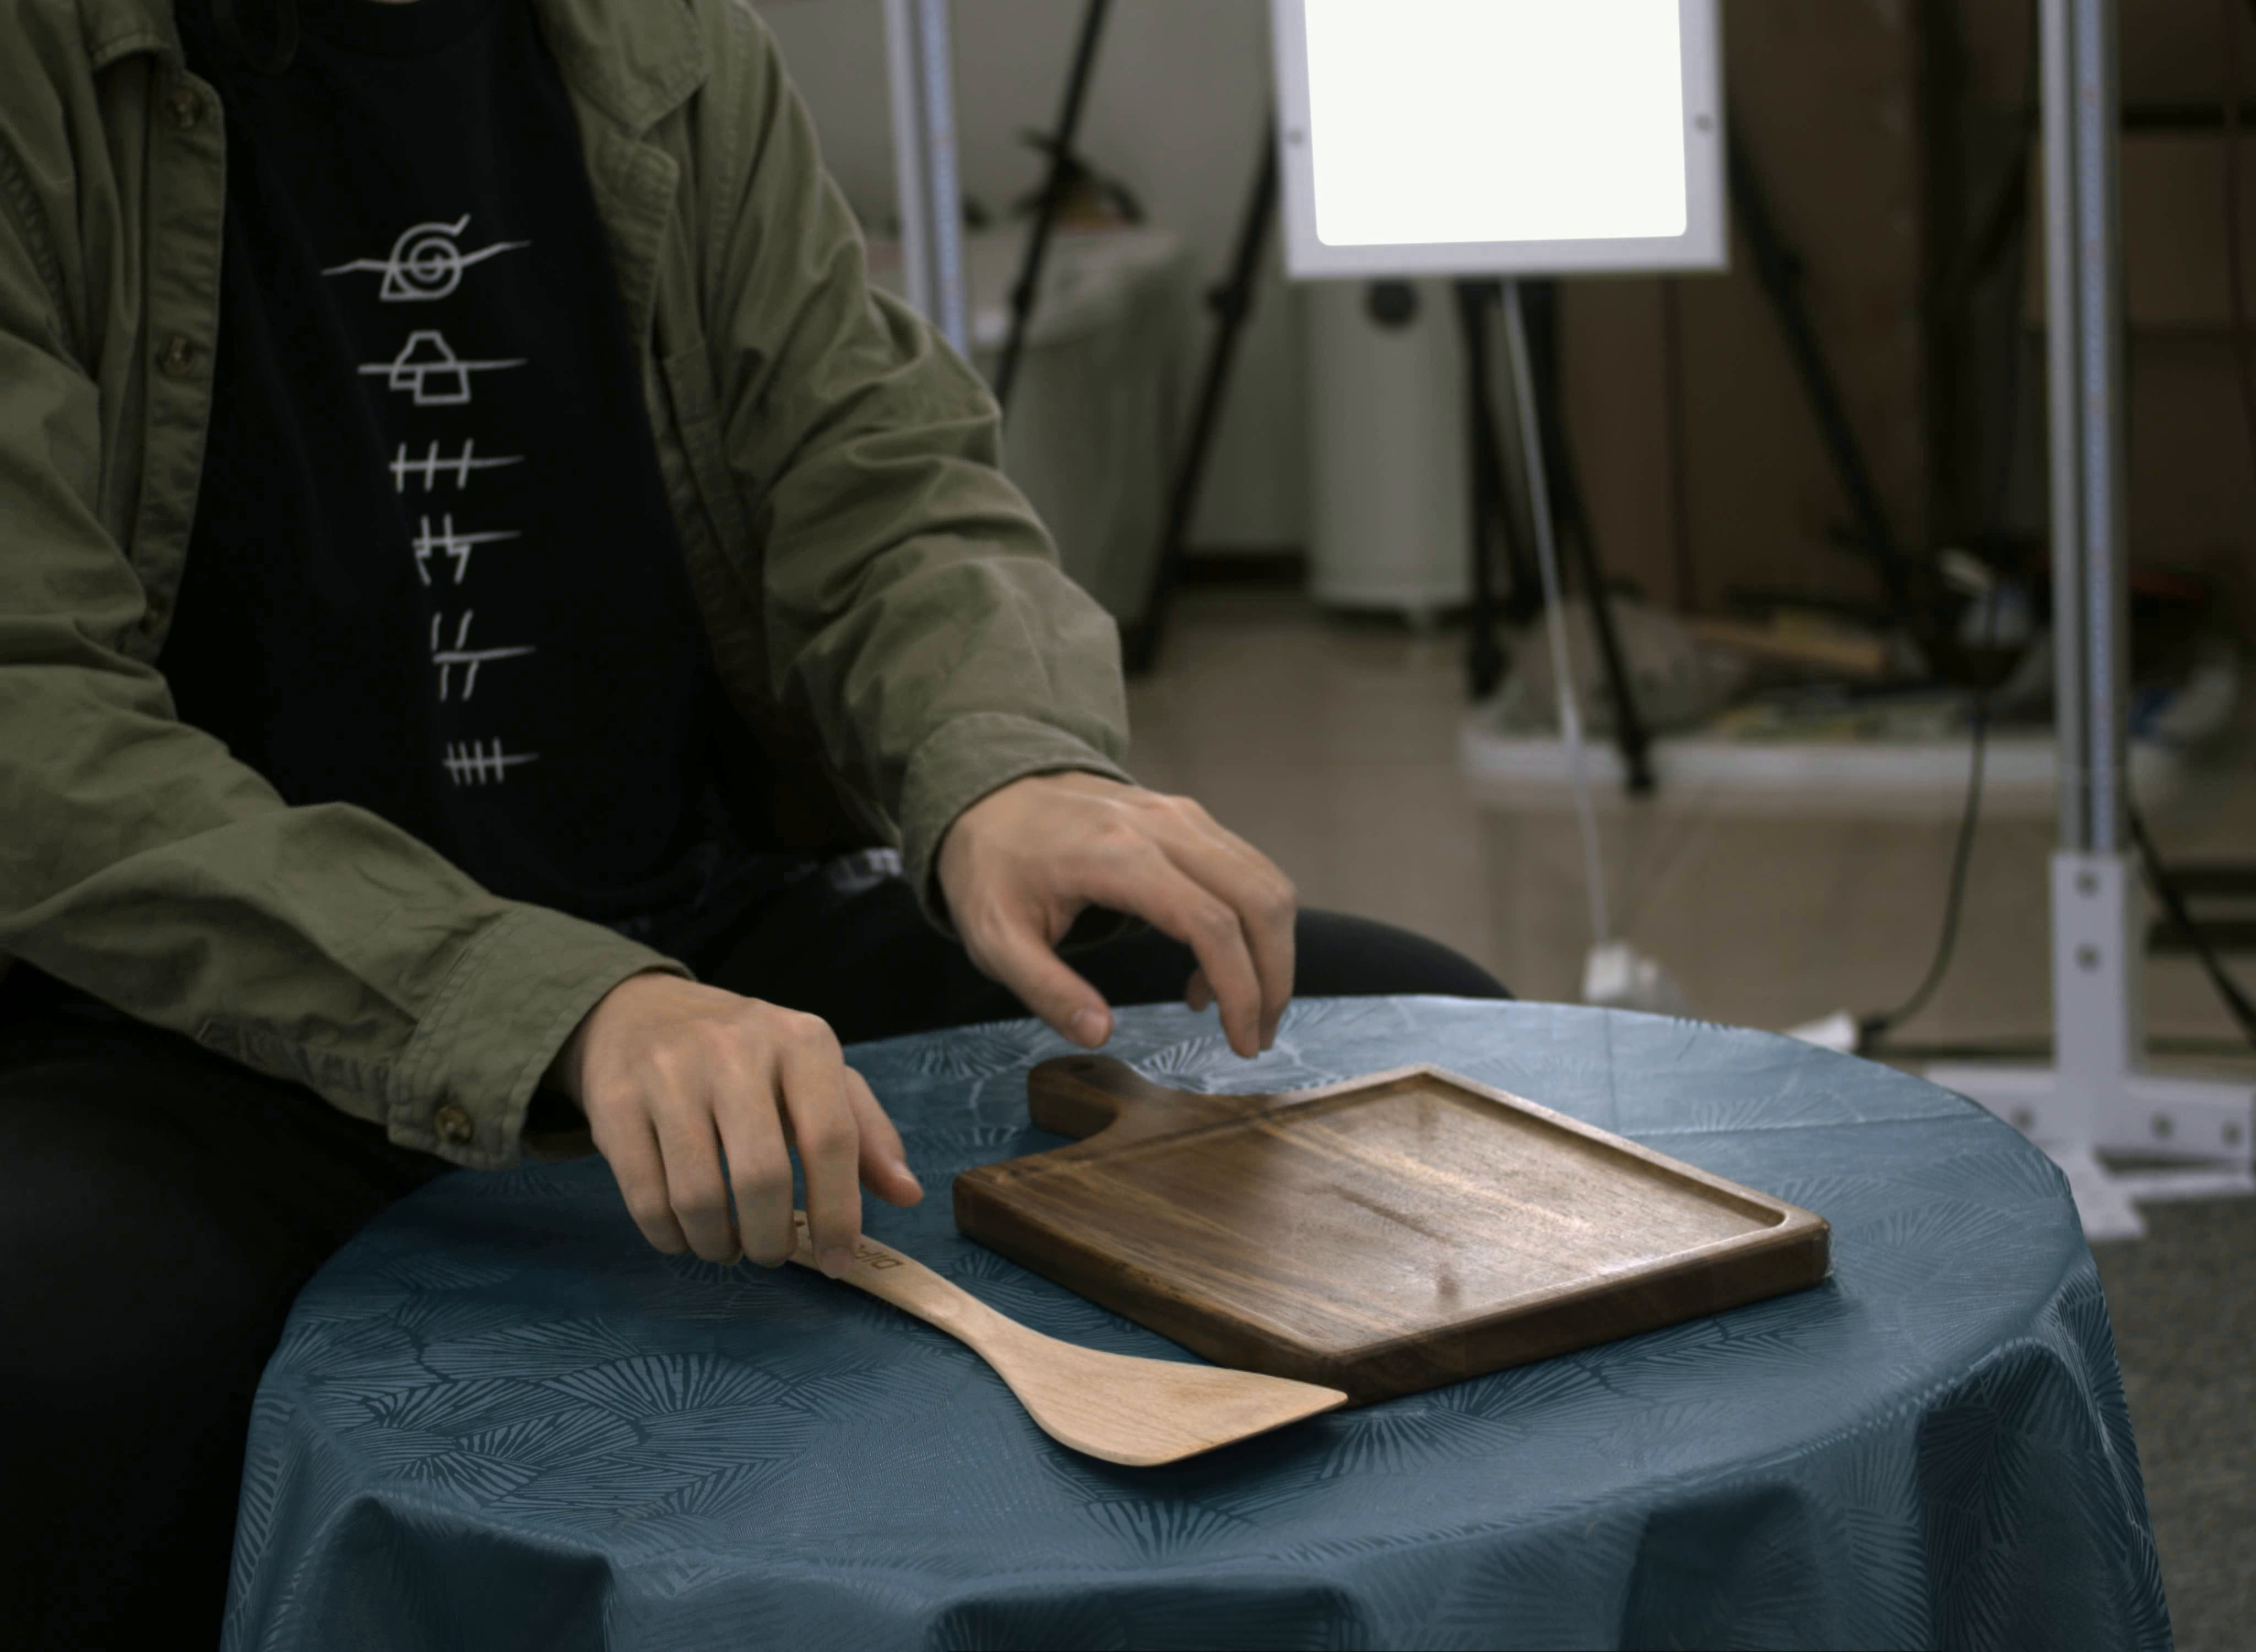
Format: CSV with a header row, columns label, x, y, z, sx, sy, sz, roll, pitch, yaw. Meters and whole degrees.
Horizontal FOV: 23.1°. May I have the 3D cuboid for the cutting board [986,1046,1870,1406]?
label,x,y,z,sx,sy,sz,roll,pitch,yaw
cutting board,0.071,0.120,1.848,0.197,0.023,0.358,-12,15,-25

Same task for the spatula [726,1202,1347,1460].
label,x,y,z,sx,sy,sz,roll,pitch,yaw
spatula,-0.044,0.155,1.756,0.078,0.016,0.334,-13,16,-29
